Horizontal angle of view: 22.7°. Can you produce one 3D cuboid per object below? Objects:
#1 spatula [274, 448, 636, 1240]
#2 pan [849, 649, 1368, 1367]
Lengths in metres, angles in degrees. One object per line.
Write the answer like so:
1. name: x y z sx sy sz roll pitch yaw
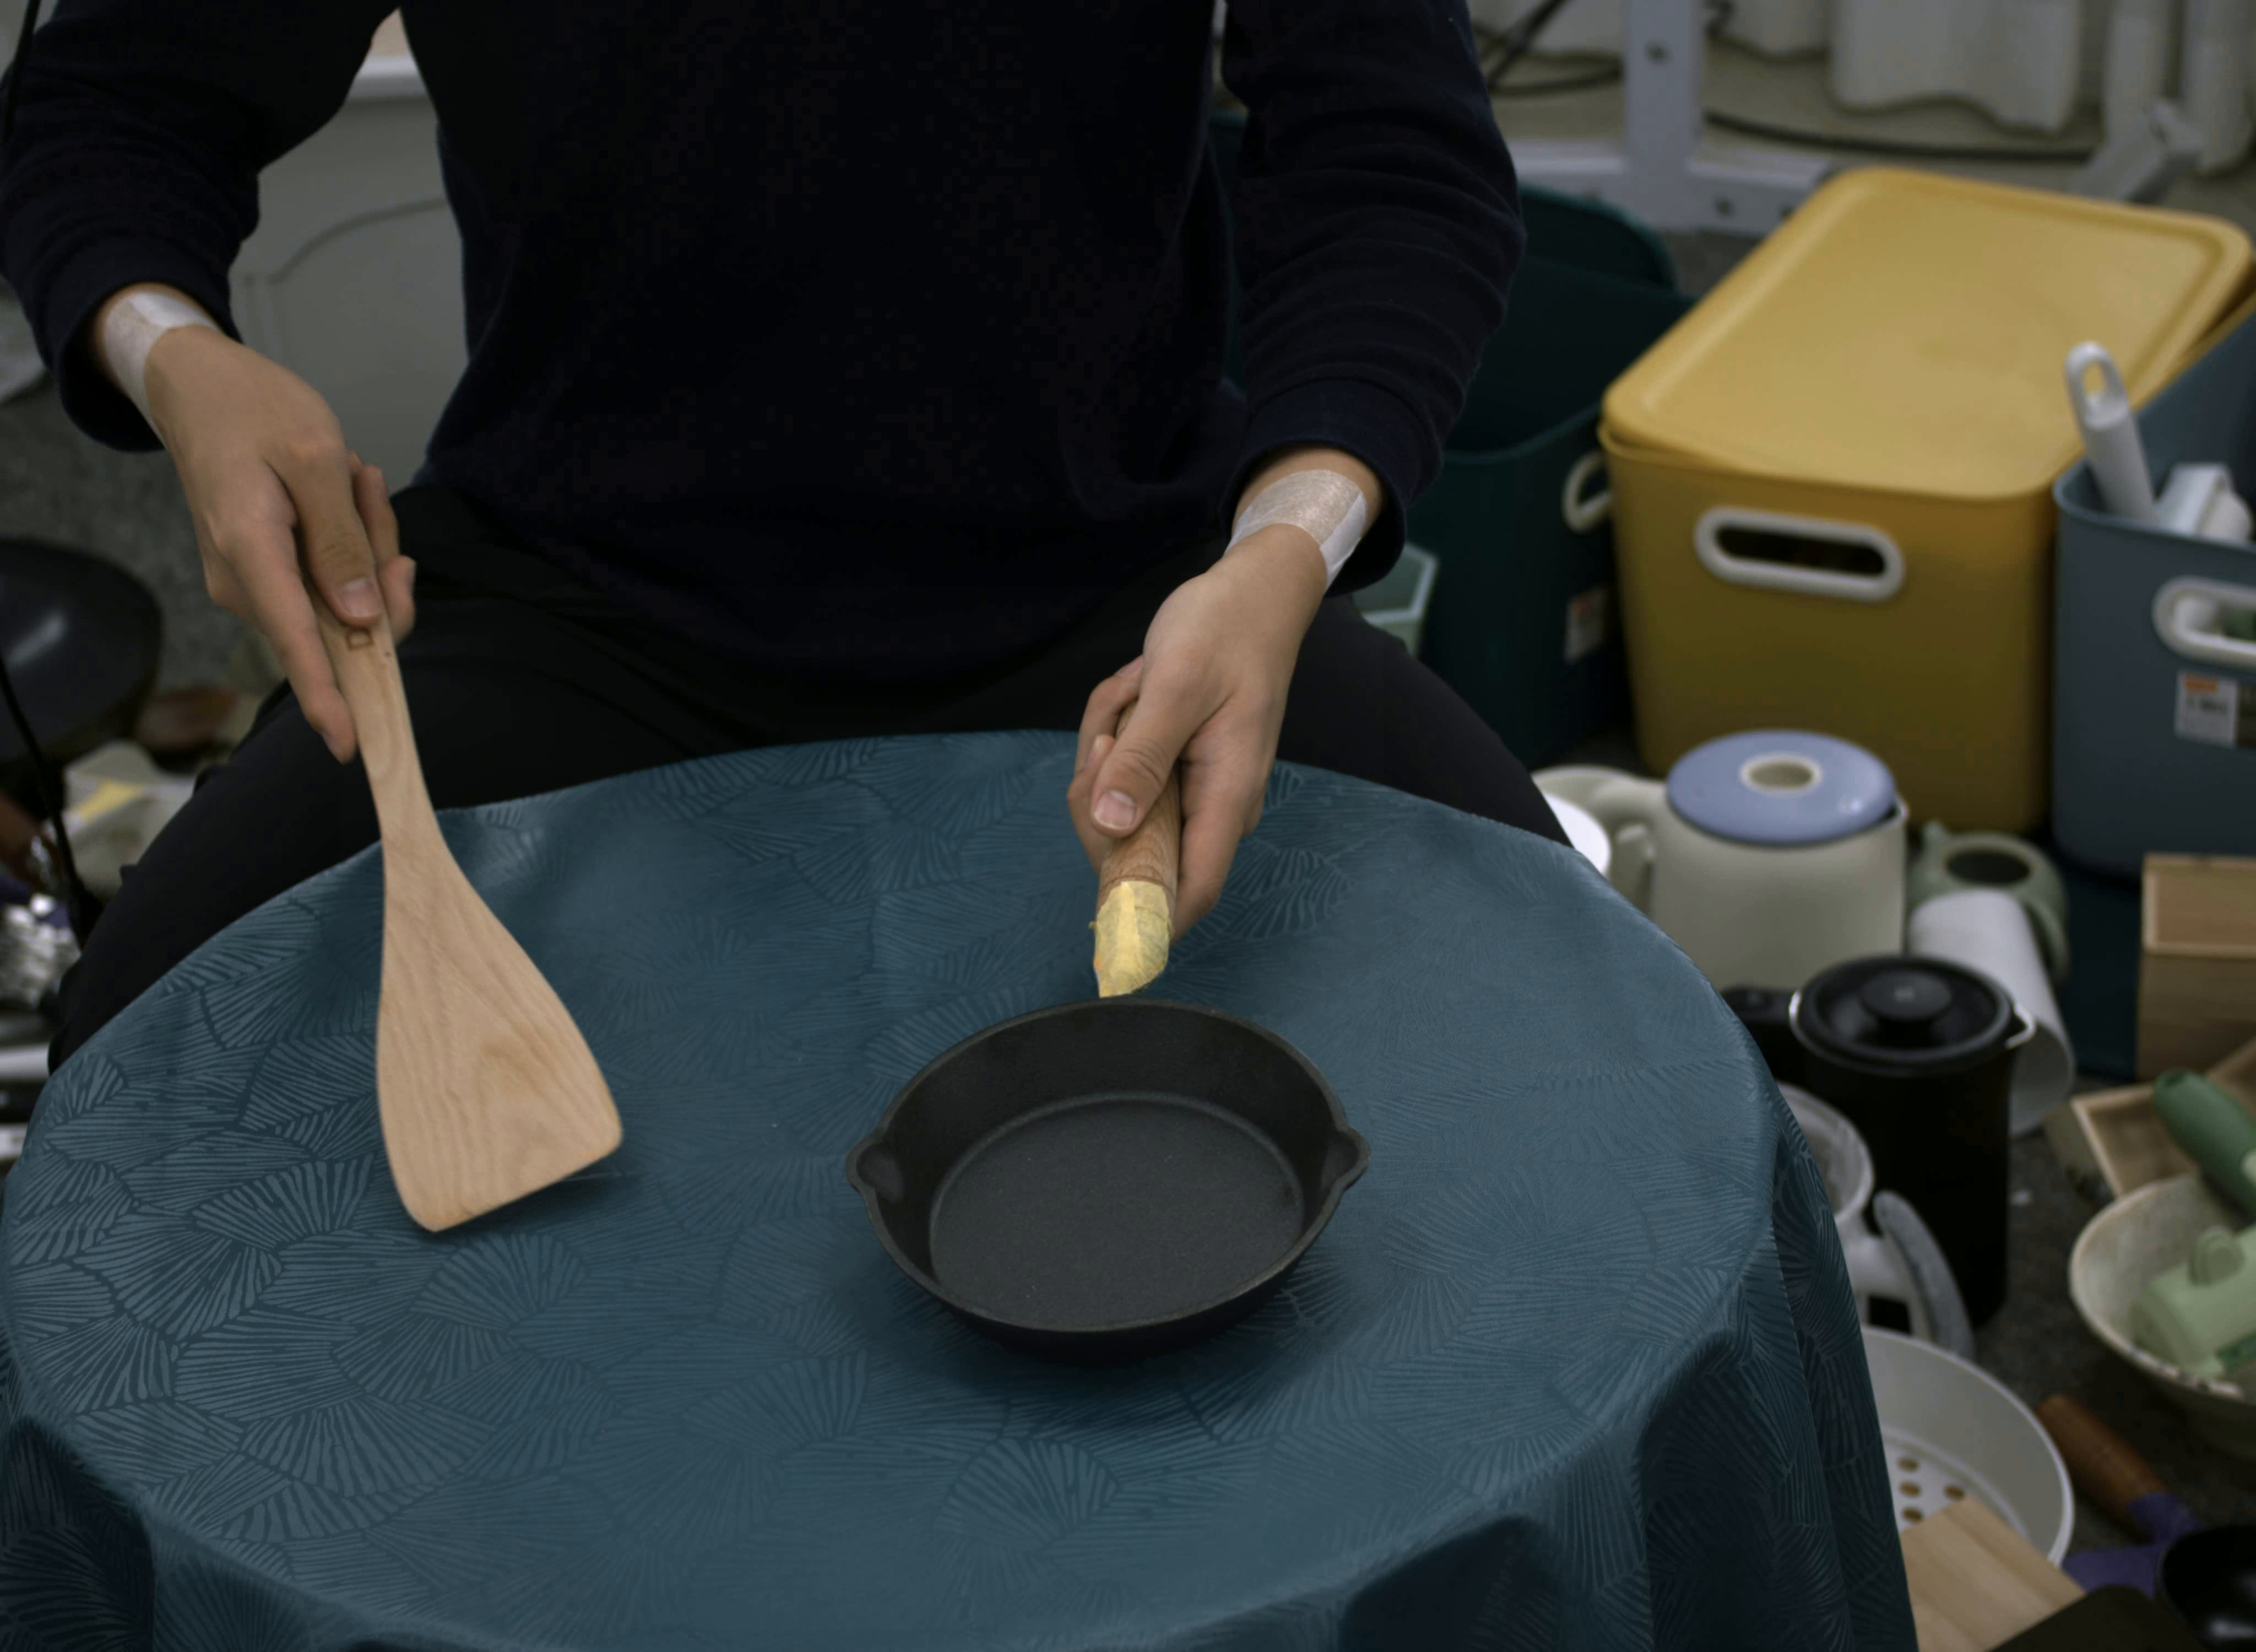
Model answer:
1. spatula: -0.245 -0.002 1.939 0.080 0.016 0.332 -14 59 -11
2. pan: 0.002 0.058 1.872 0.168 0.049 0.331 0 40 7
